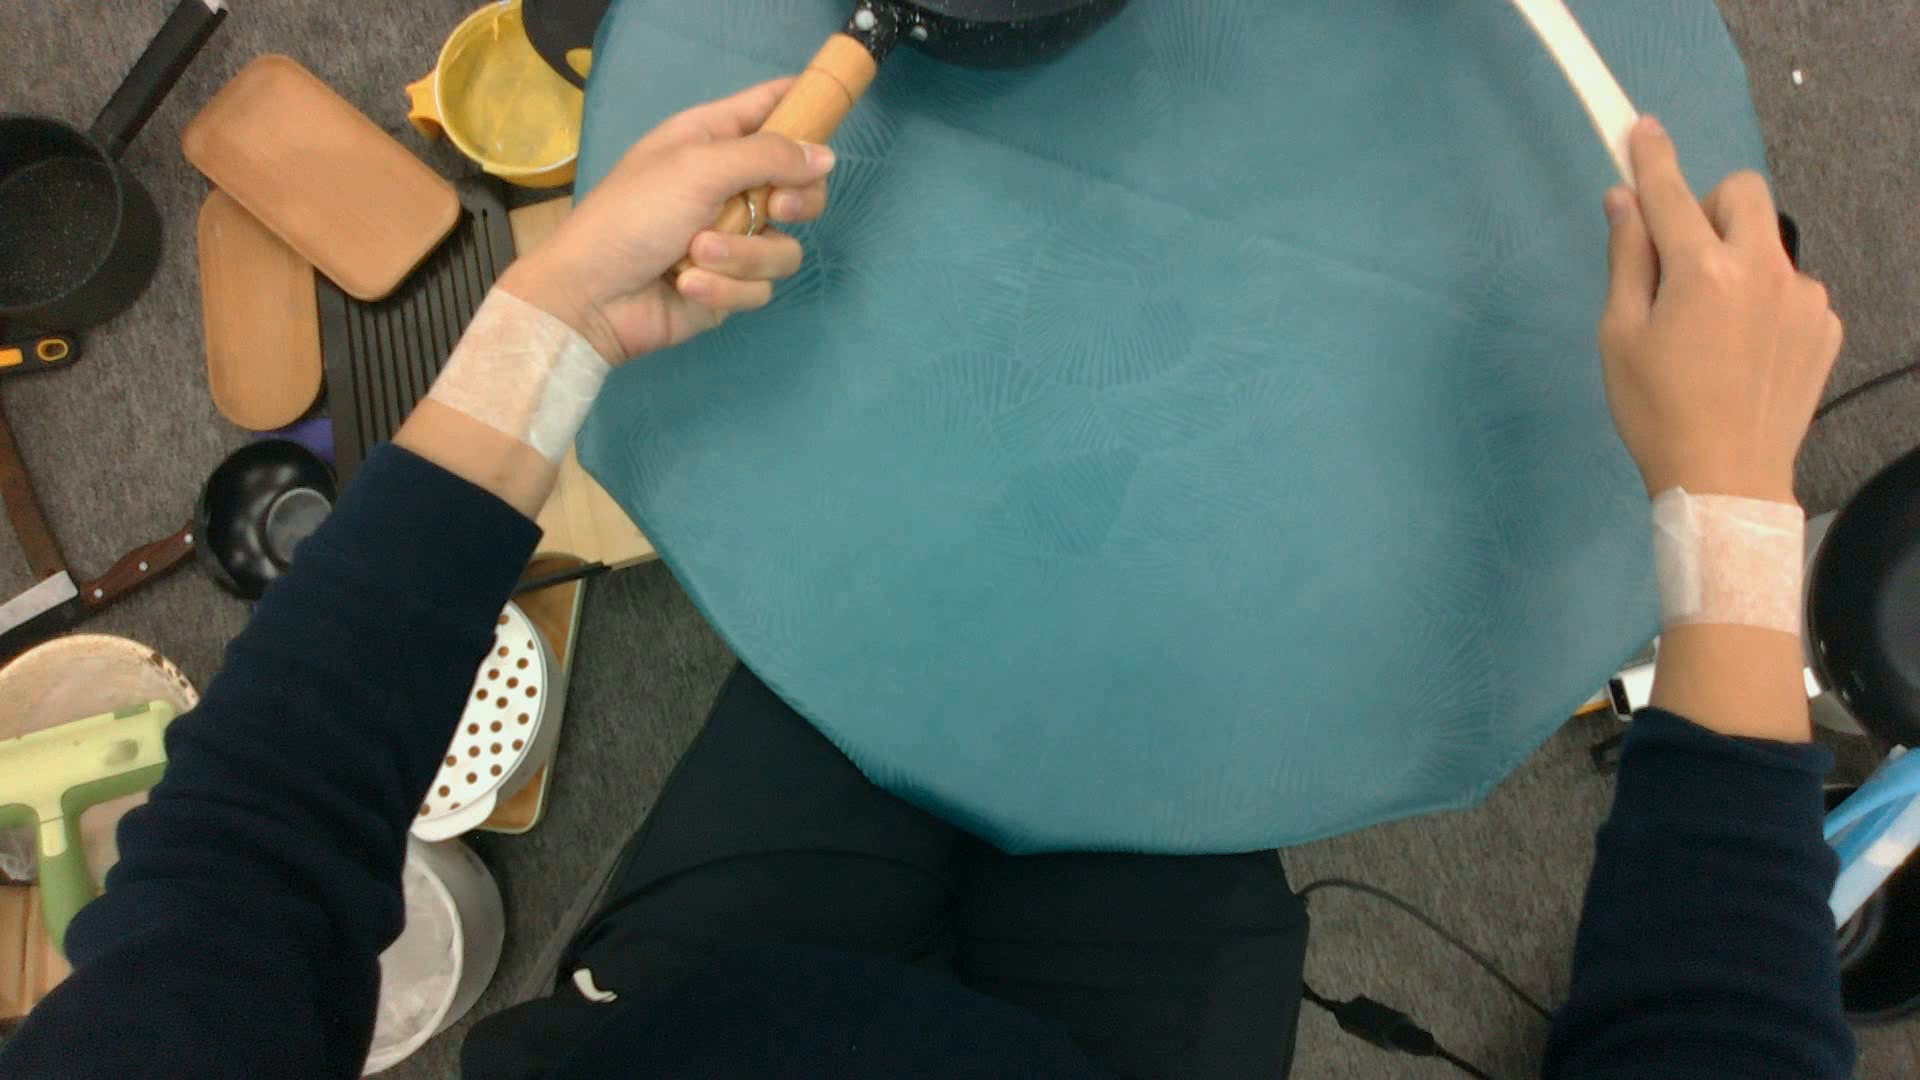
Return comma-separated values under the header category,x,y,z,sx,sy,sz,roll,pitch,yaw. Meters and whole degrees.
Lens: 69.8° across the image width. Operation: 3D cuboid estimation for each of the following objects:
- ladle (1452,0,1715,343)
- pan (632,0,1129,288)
category,x,y,z,sx,sy,sz,roll,pitch,yaw
ladle,0.269,-0.214,0.608,0.089,0.069,0.275,-15,65,-15
pan,-0.034,-0.244,0.634,0.207,0.108,0.343,33,83,0
